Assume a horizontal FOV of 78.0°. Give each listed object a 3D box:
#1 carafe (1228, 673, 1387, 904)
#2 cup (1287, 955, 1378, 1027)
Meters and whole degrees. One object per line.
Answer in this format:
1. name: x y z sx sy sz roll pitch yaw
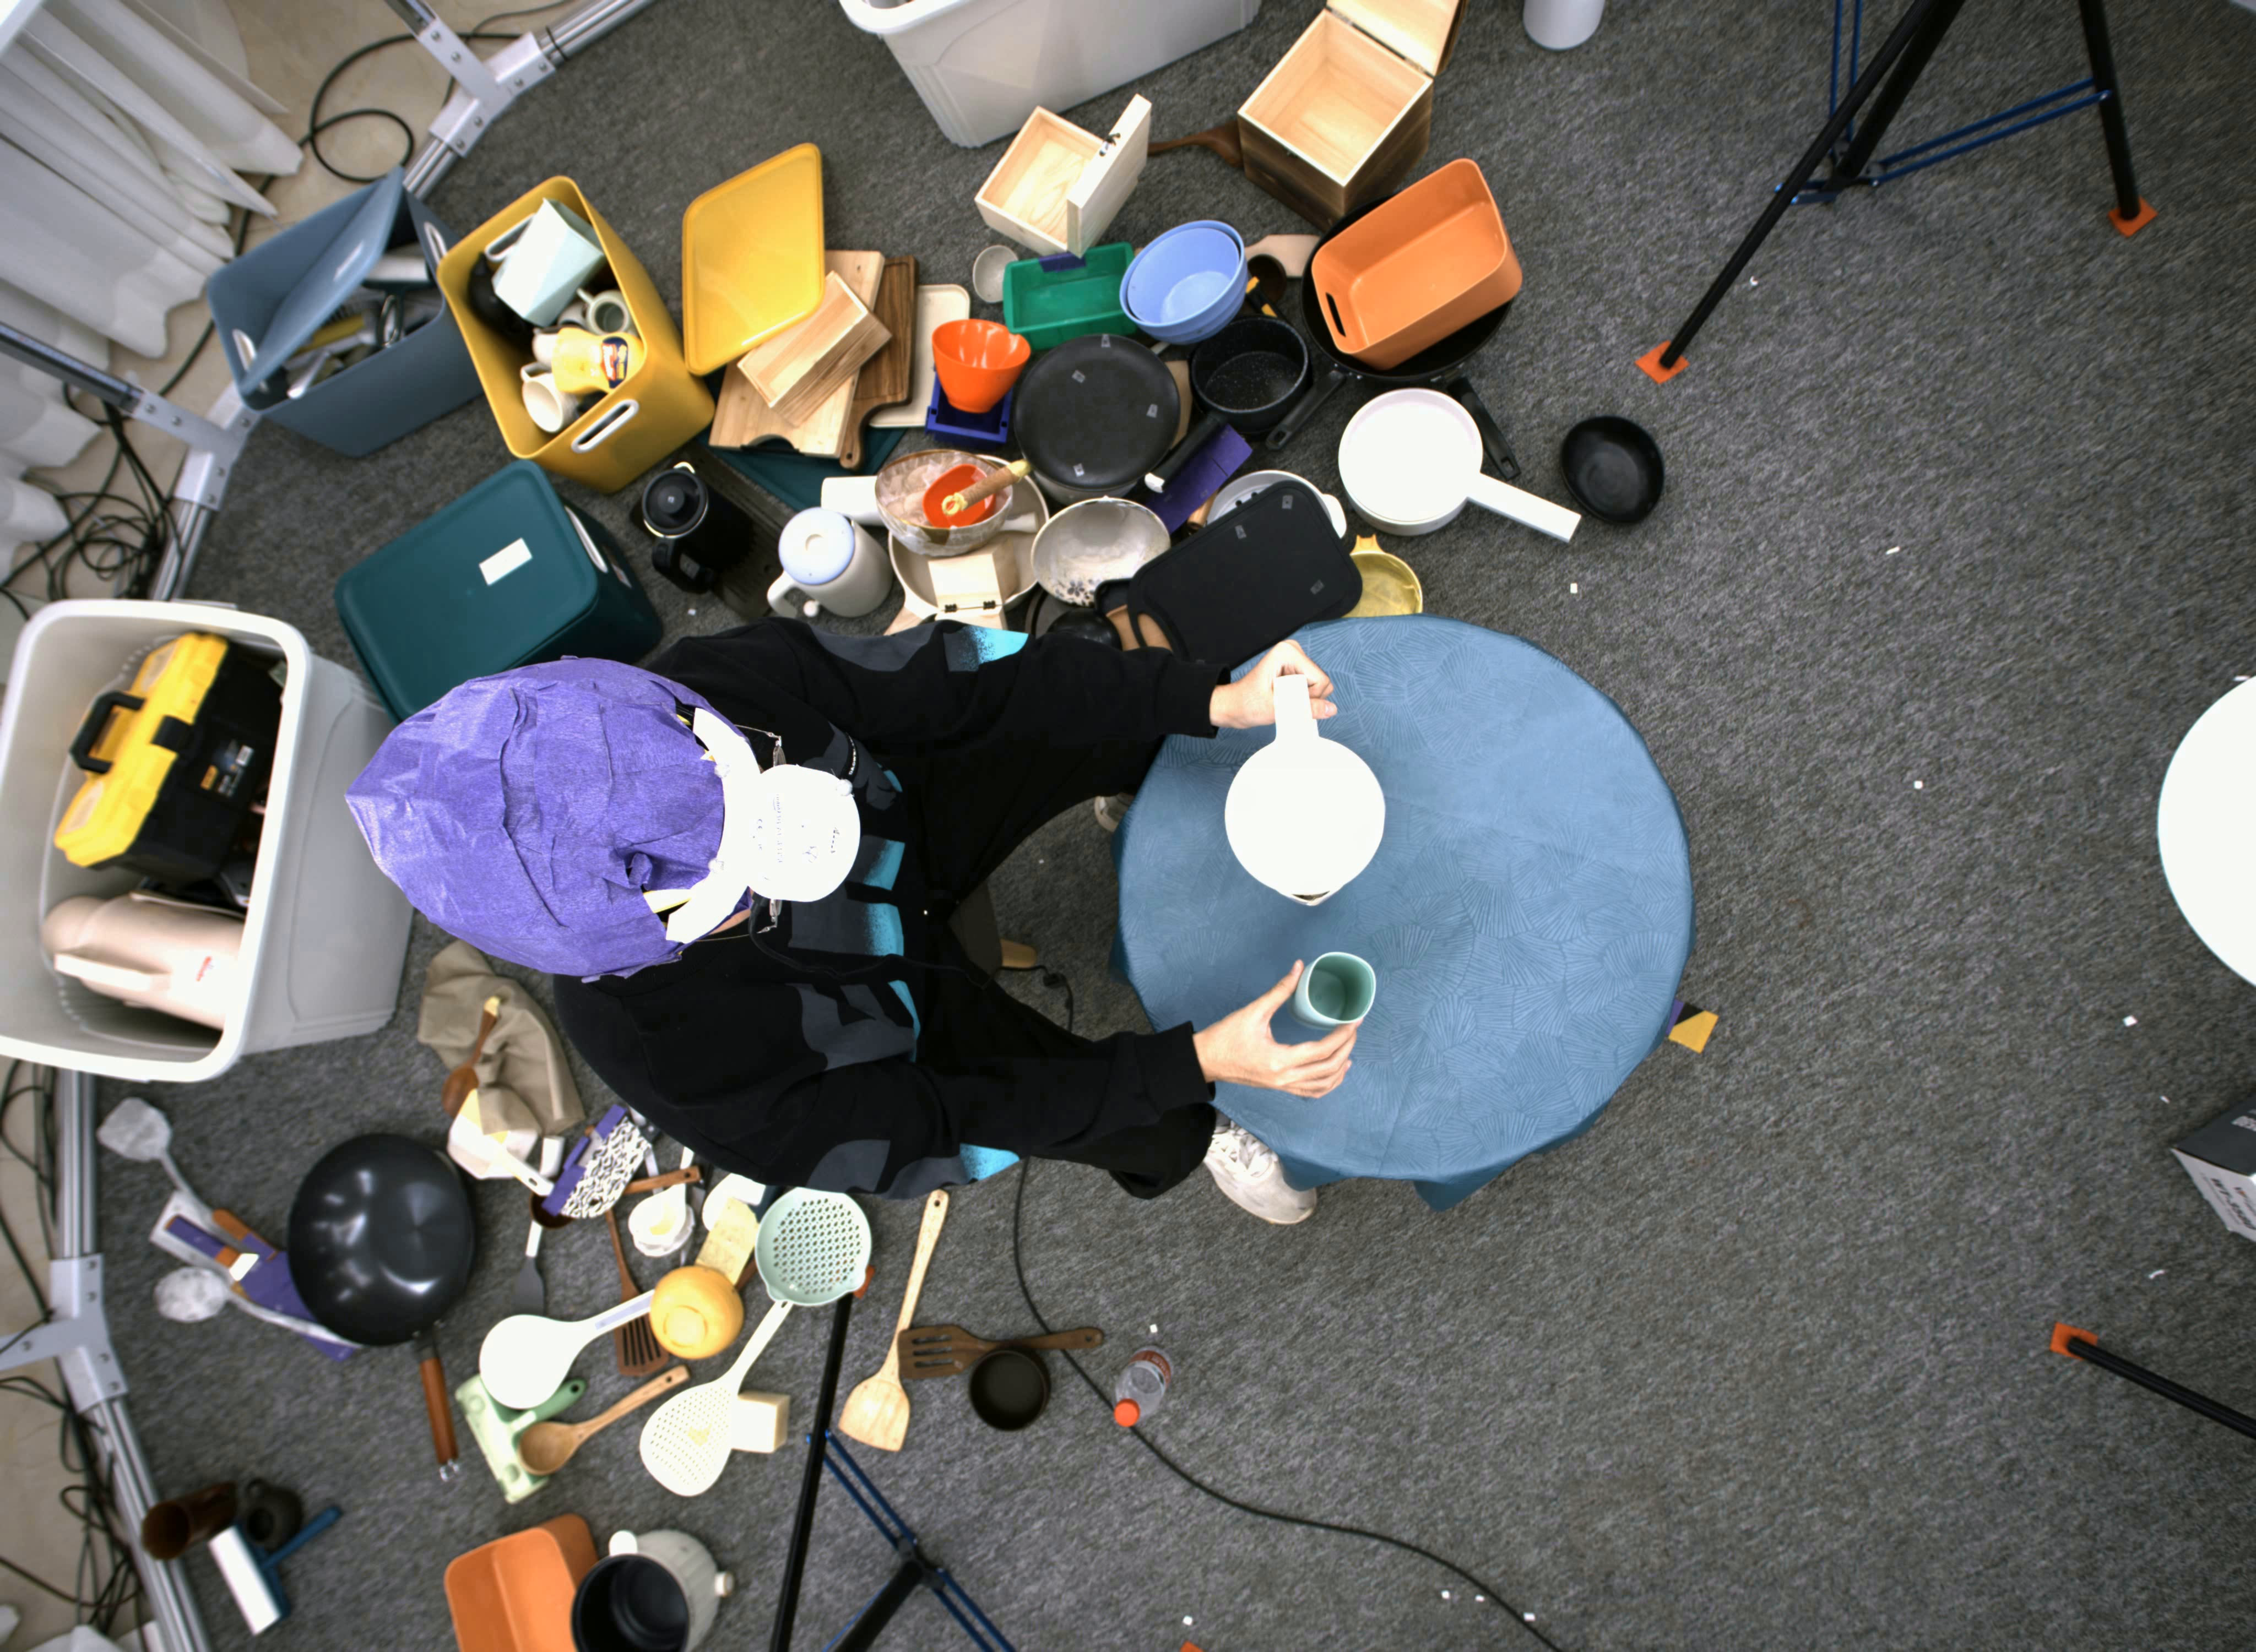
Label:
1. carafe: 0.177 -0.039 1.348 0.153 0.239 0.213 -5 93 9
2. cup: 0.191 0.157 1.316 0.067 0.133 0.066 0 81 -2
